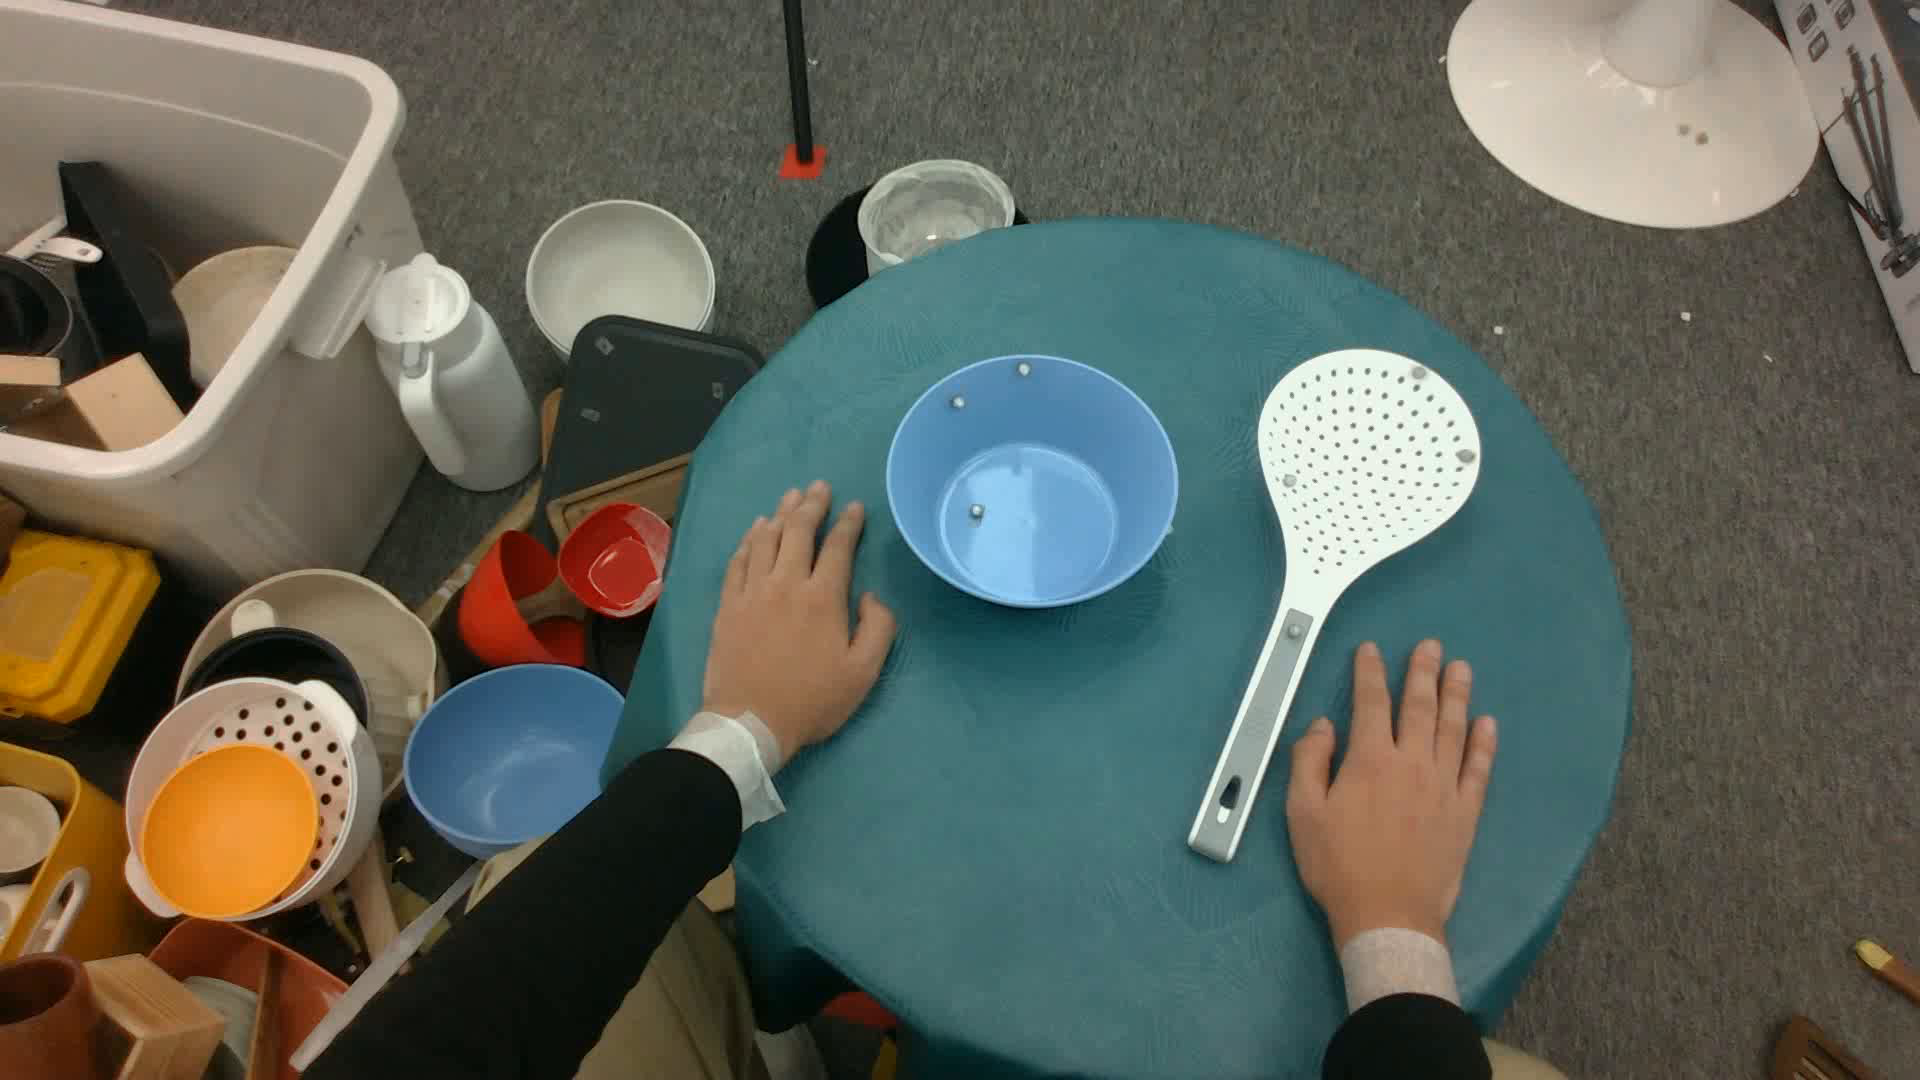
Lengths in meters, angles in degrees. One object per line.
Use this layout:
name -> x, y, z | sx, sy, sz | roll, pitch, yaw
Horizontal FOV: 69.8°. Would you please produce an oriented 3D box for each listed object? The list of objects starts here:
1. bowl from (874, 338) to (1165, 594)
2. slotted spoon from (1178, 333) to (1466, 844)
bowl -> 0.035, -0.034, 0.851 | 0.176, 0.070, 0.176 | 1, 63, -1
slotted spoon -> 0.207, 0.022, 0.841 | 0.136, 0.045, 0.351 | 22, 65, 10
